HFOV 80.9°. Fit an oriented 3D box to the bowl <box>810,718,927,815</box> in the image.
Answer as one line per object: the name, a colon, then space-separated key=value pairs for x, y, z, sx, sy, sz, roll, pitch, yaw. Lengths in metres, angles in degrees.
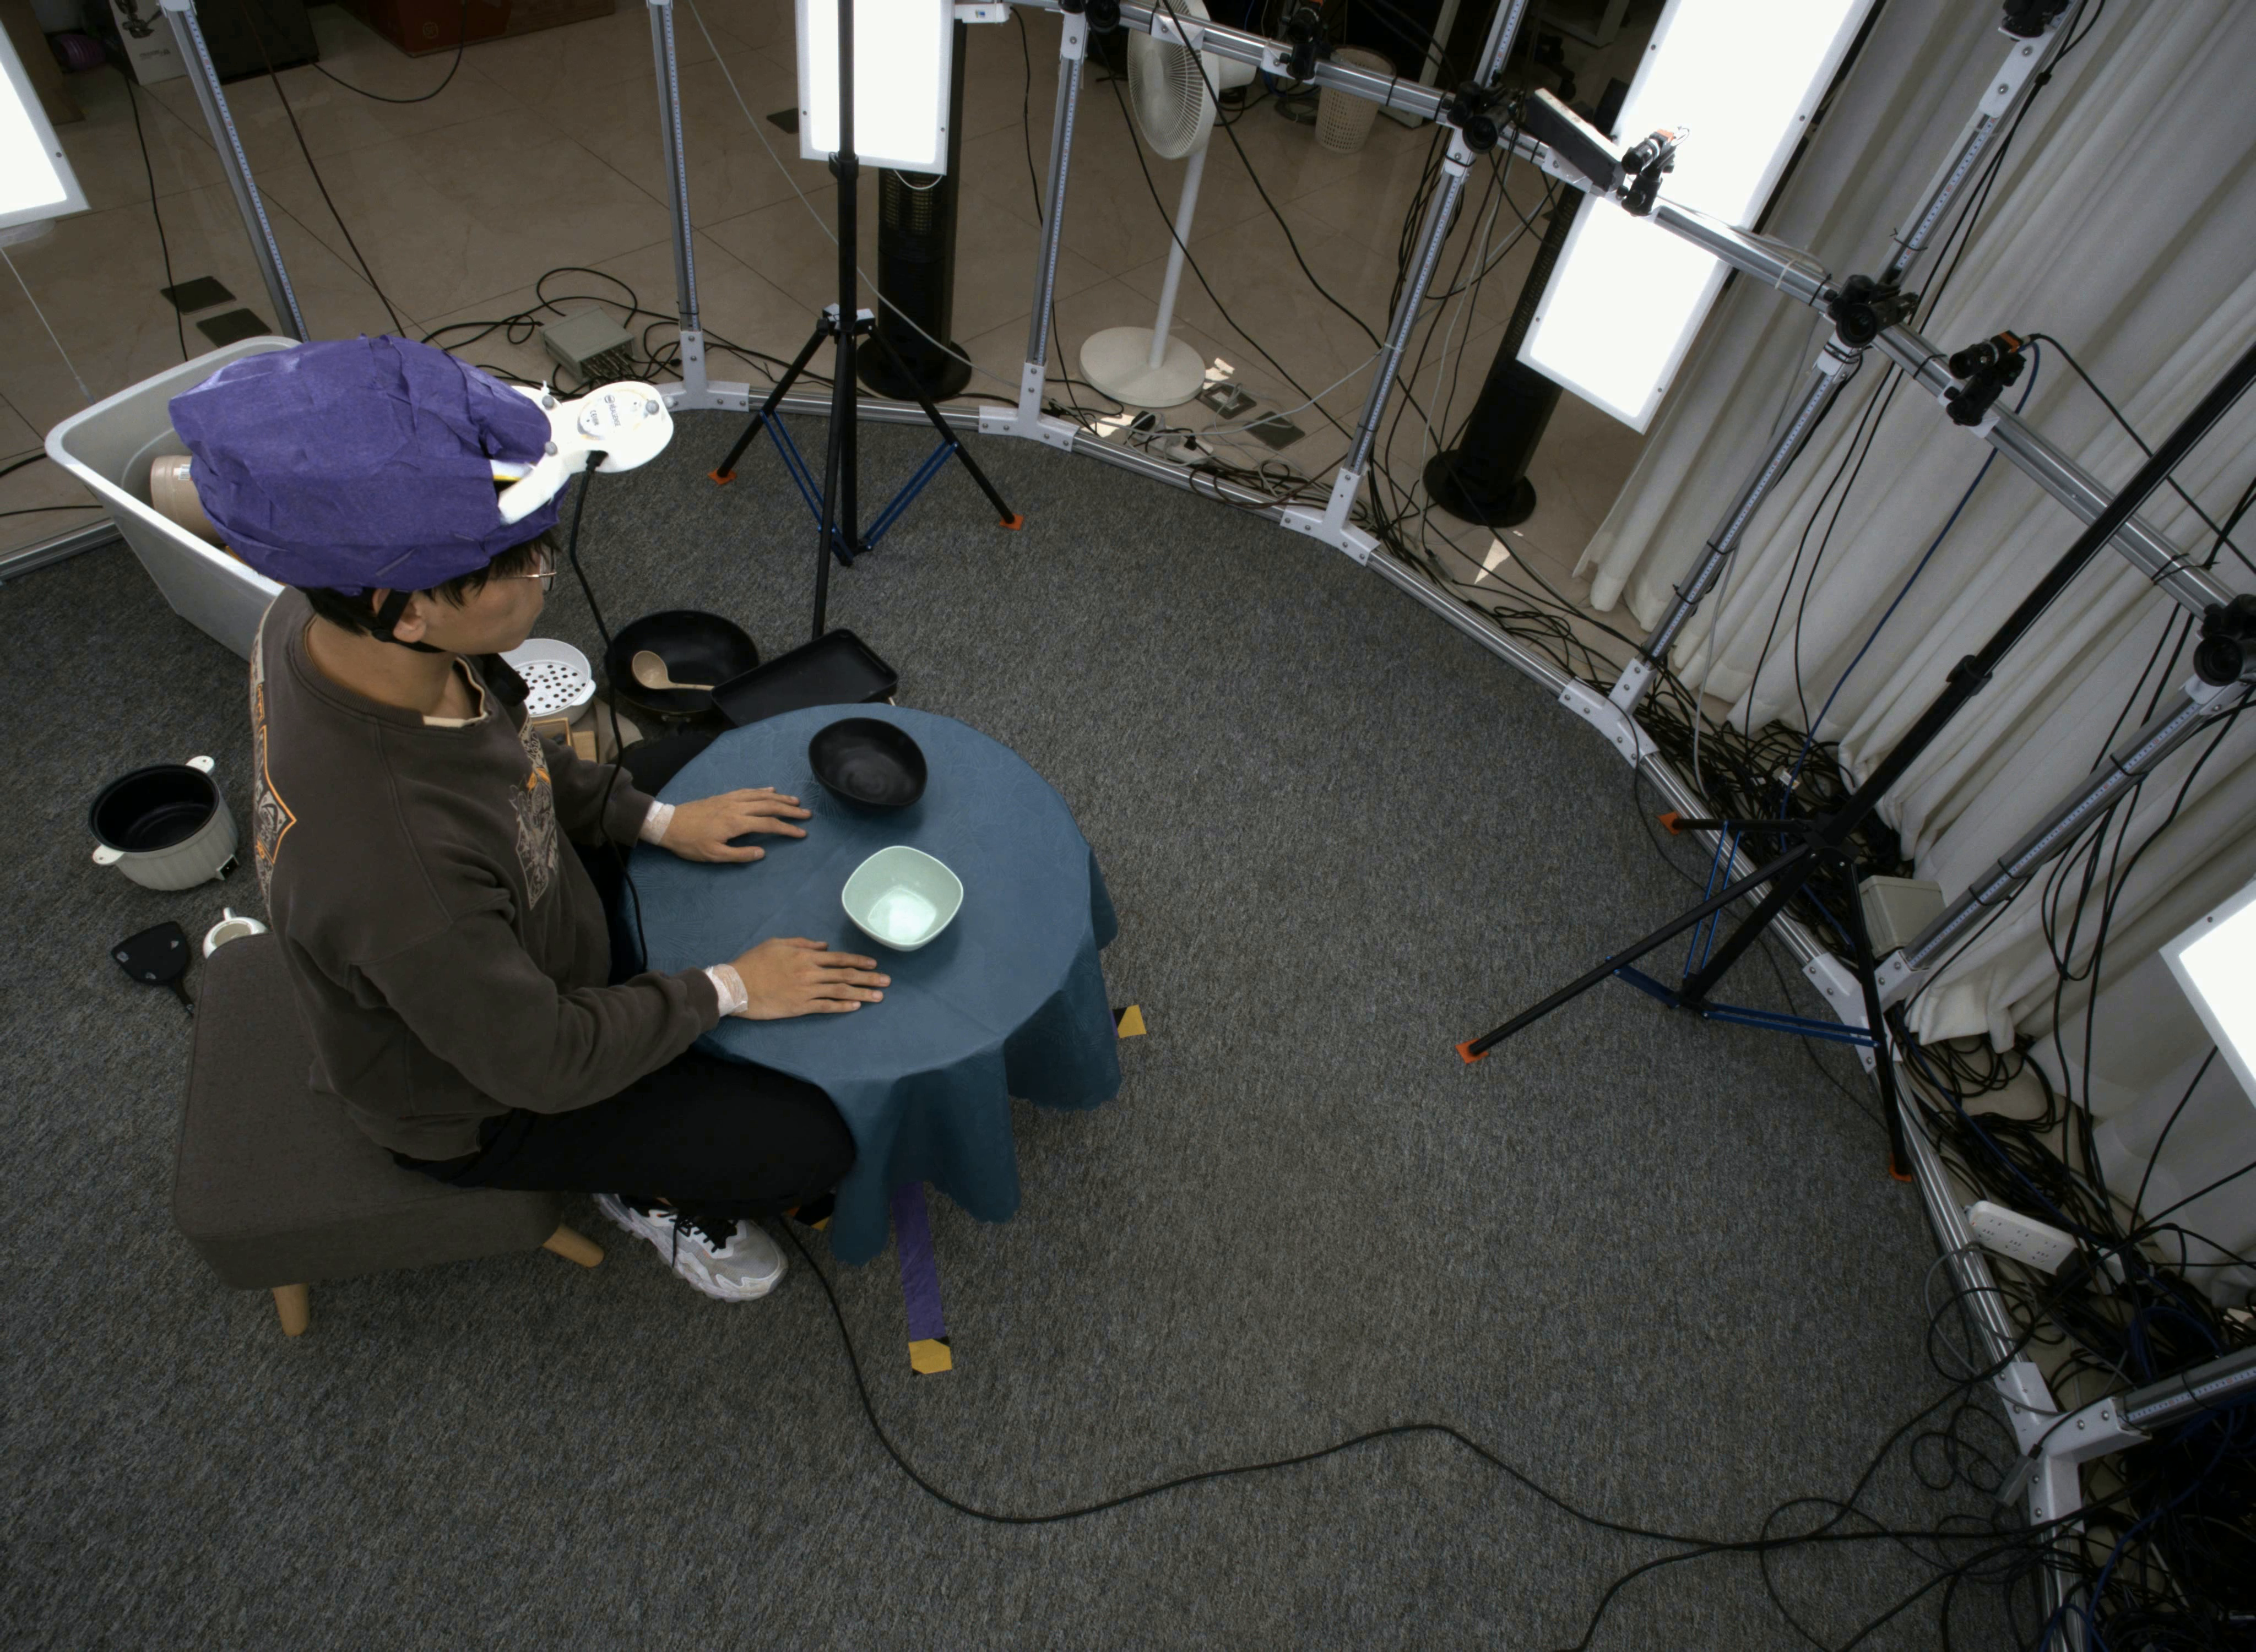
bowl: x=-0.352 y=-0.071 z=1.768 sx=0.168 sy=0.068 sz=0.137 roll=29 pitch=53 yaw=8

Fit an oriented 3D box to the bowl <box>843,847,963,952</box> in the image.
bowl: x=-0.287 y=0.103 z=1.659 sx=0.151 sy=0.060 sz=0.148 roll=9 pitch=51 yaw=-9
